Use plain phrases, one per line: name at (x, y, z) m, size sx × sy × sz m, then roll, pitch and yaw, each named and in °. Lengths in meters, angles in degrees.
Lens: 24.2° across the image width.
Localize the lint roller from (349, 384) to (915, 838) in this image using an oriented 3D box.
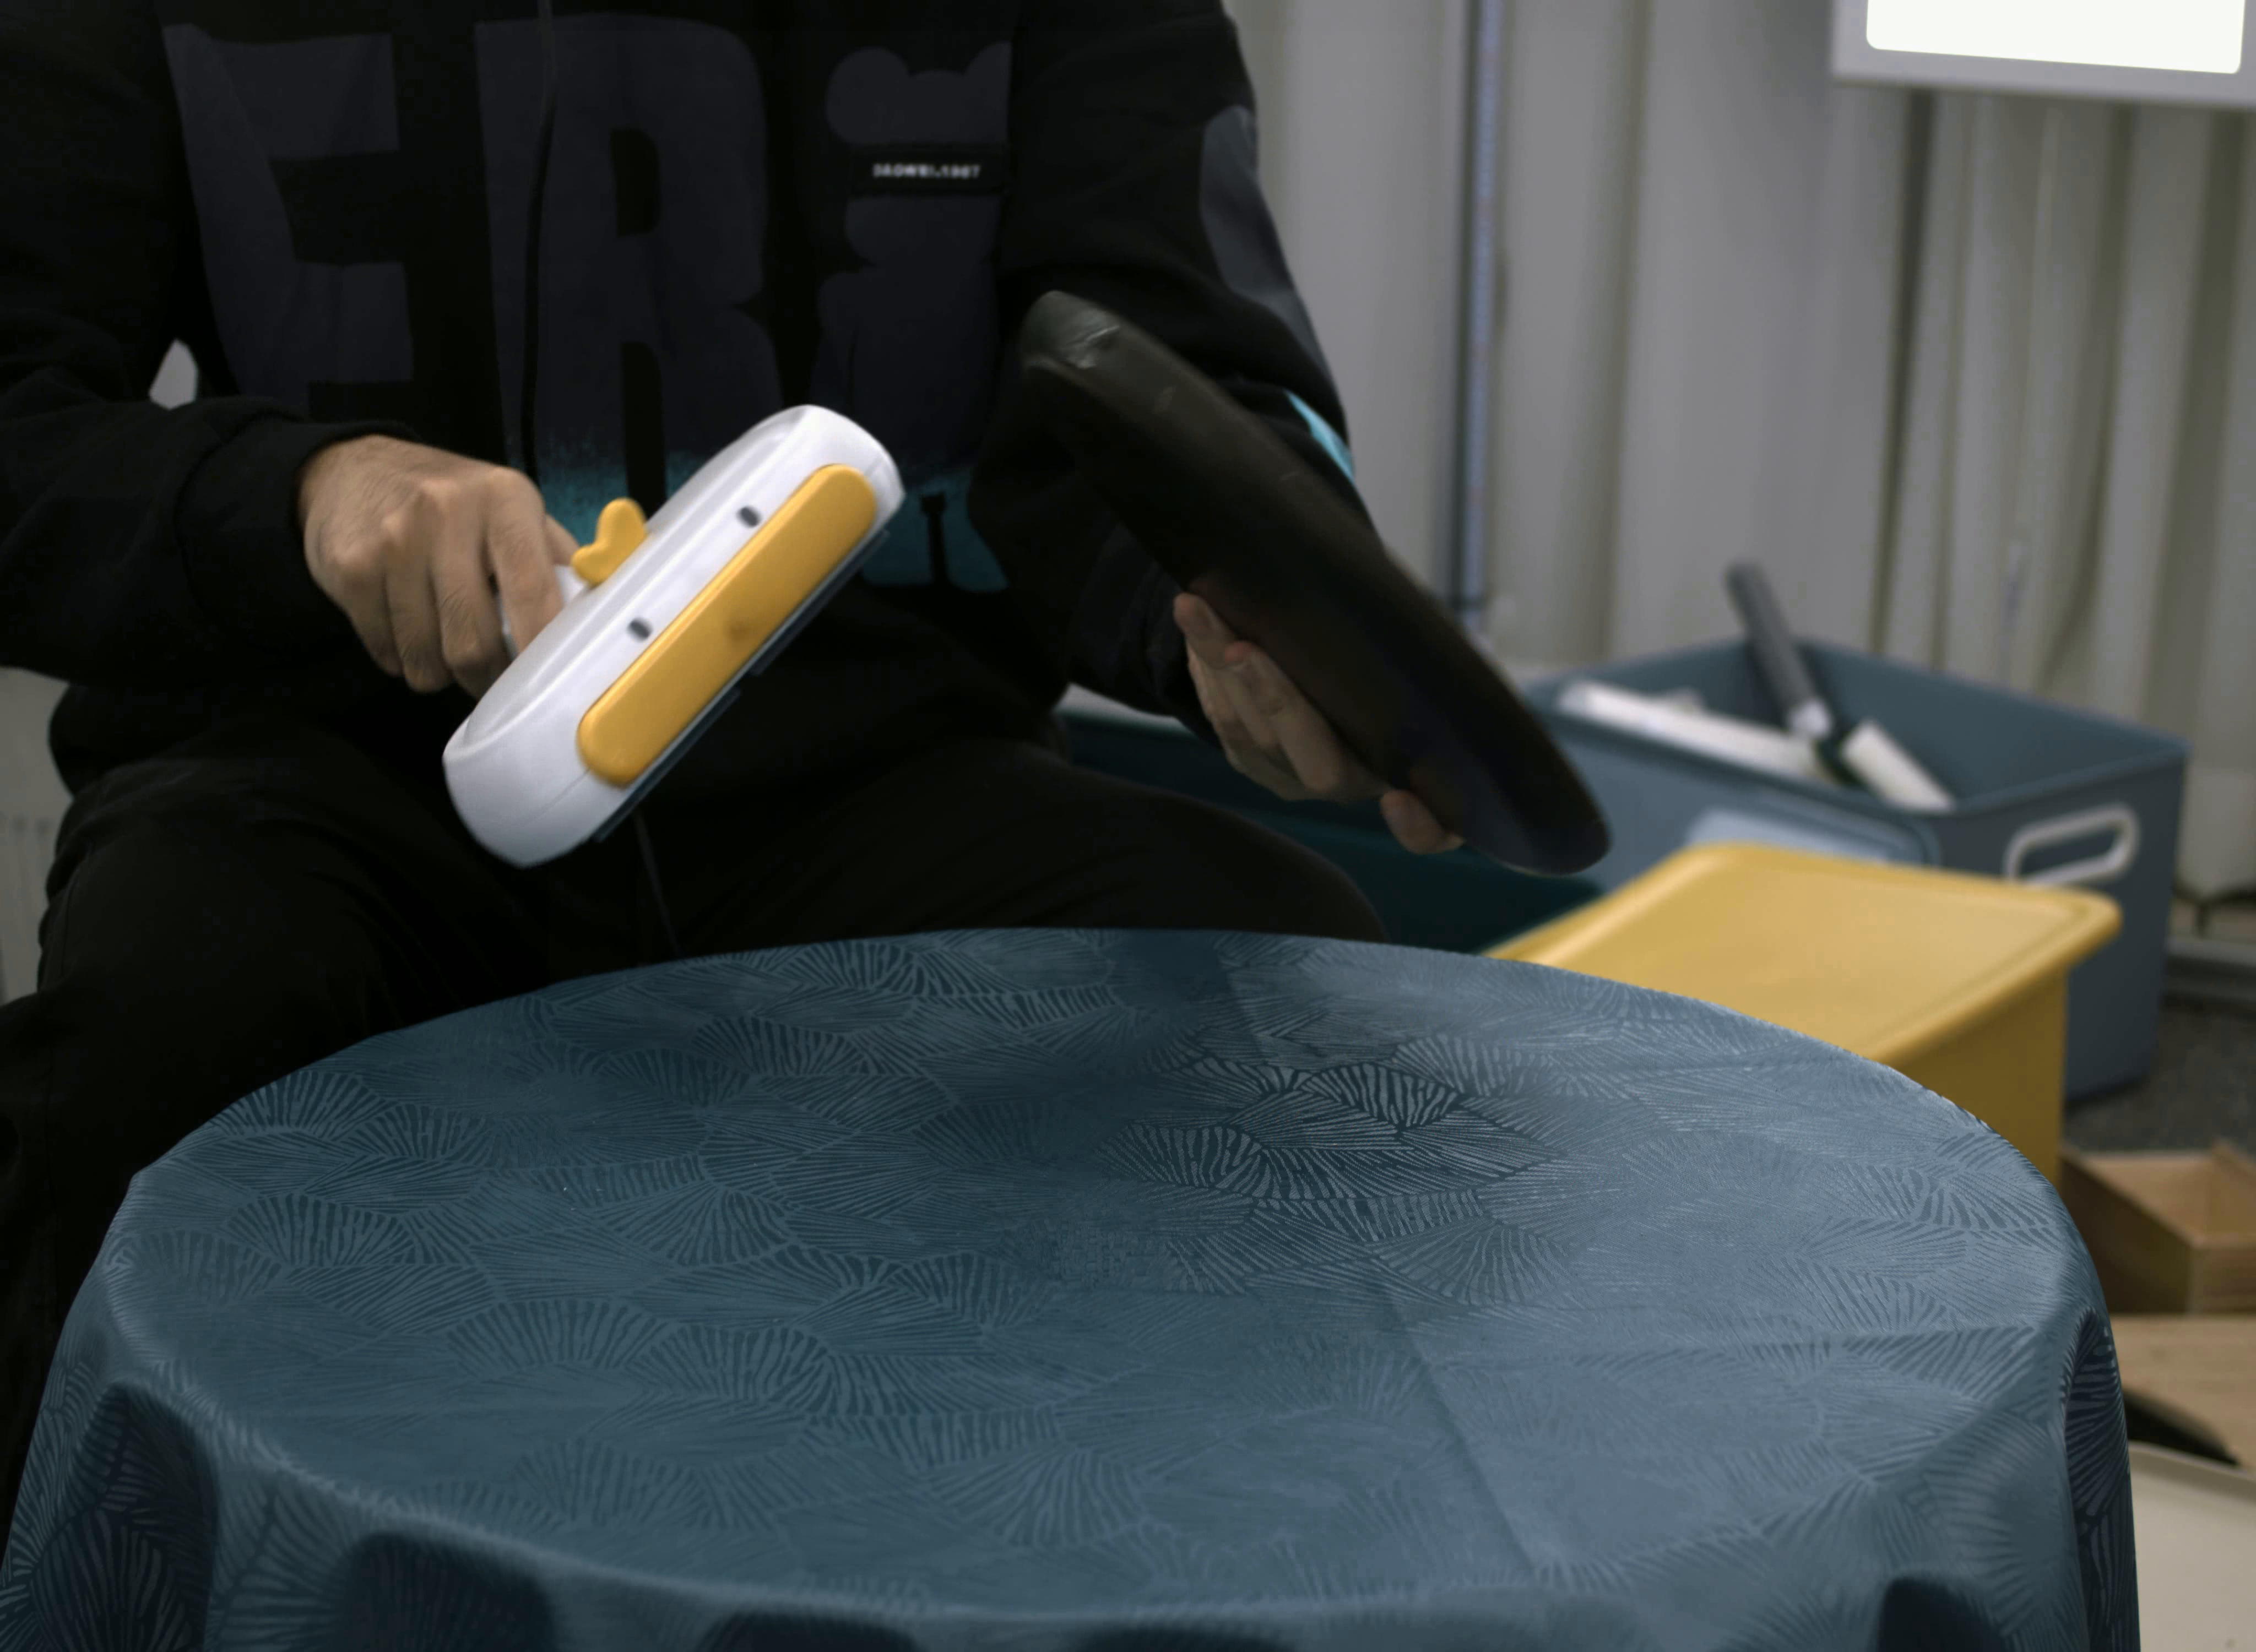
lint roller at (-0.185, -0.072, 1.756) m, size 0.190 × 0.075 × 0.192 m, roll -6°, pitch 40°, yaw 47°

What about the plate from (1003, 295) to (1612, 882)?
plate at (0.052, -0.072, 1.666) m, size 0.029 × 0.258 × 0.252 m, roll -46°, pitch 27°, yaw -5°
